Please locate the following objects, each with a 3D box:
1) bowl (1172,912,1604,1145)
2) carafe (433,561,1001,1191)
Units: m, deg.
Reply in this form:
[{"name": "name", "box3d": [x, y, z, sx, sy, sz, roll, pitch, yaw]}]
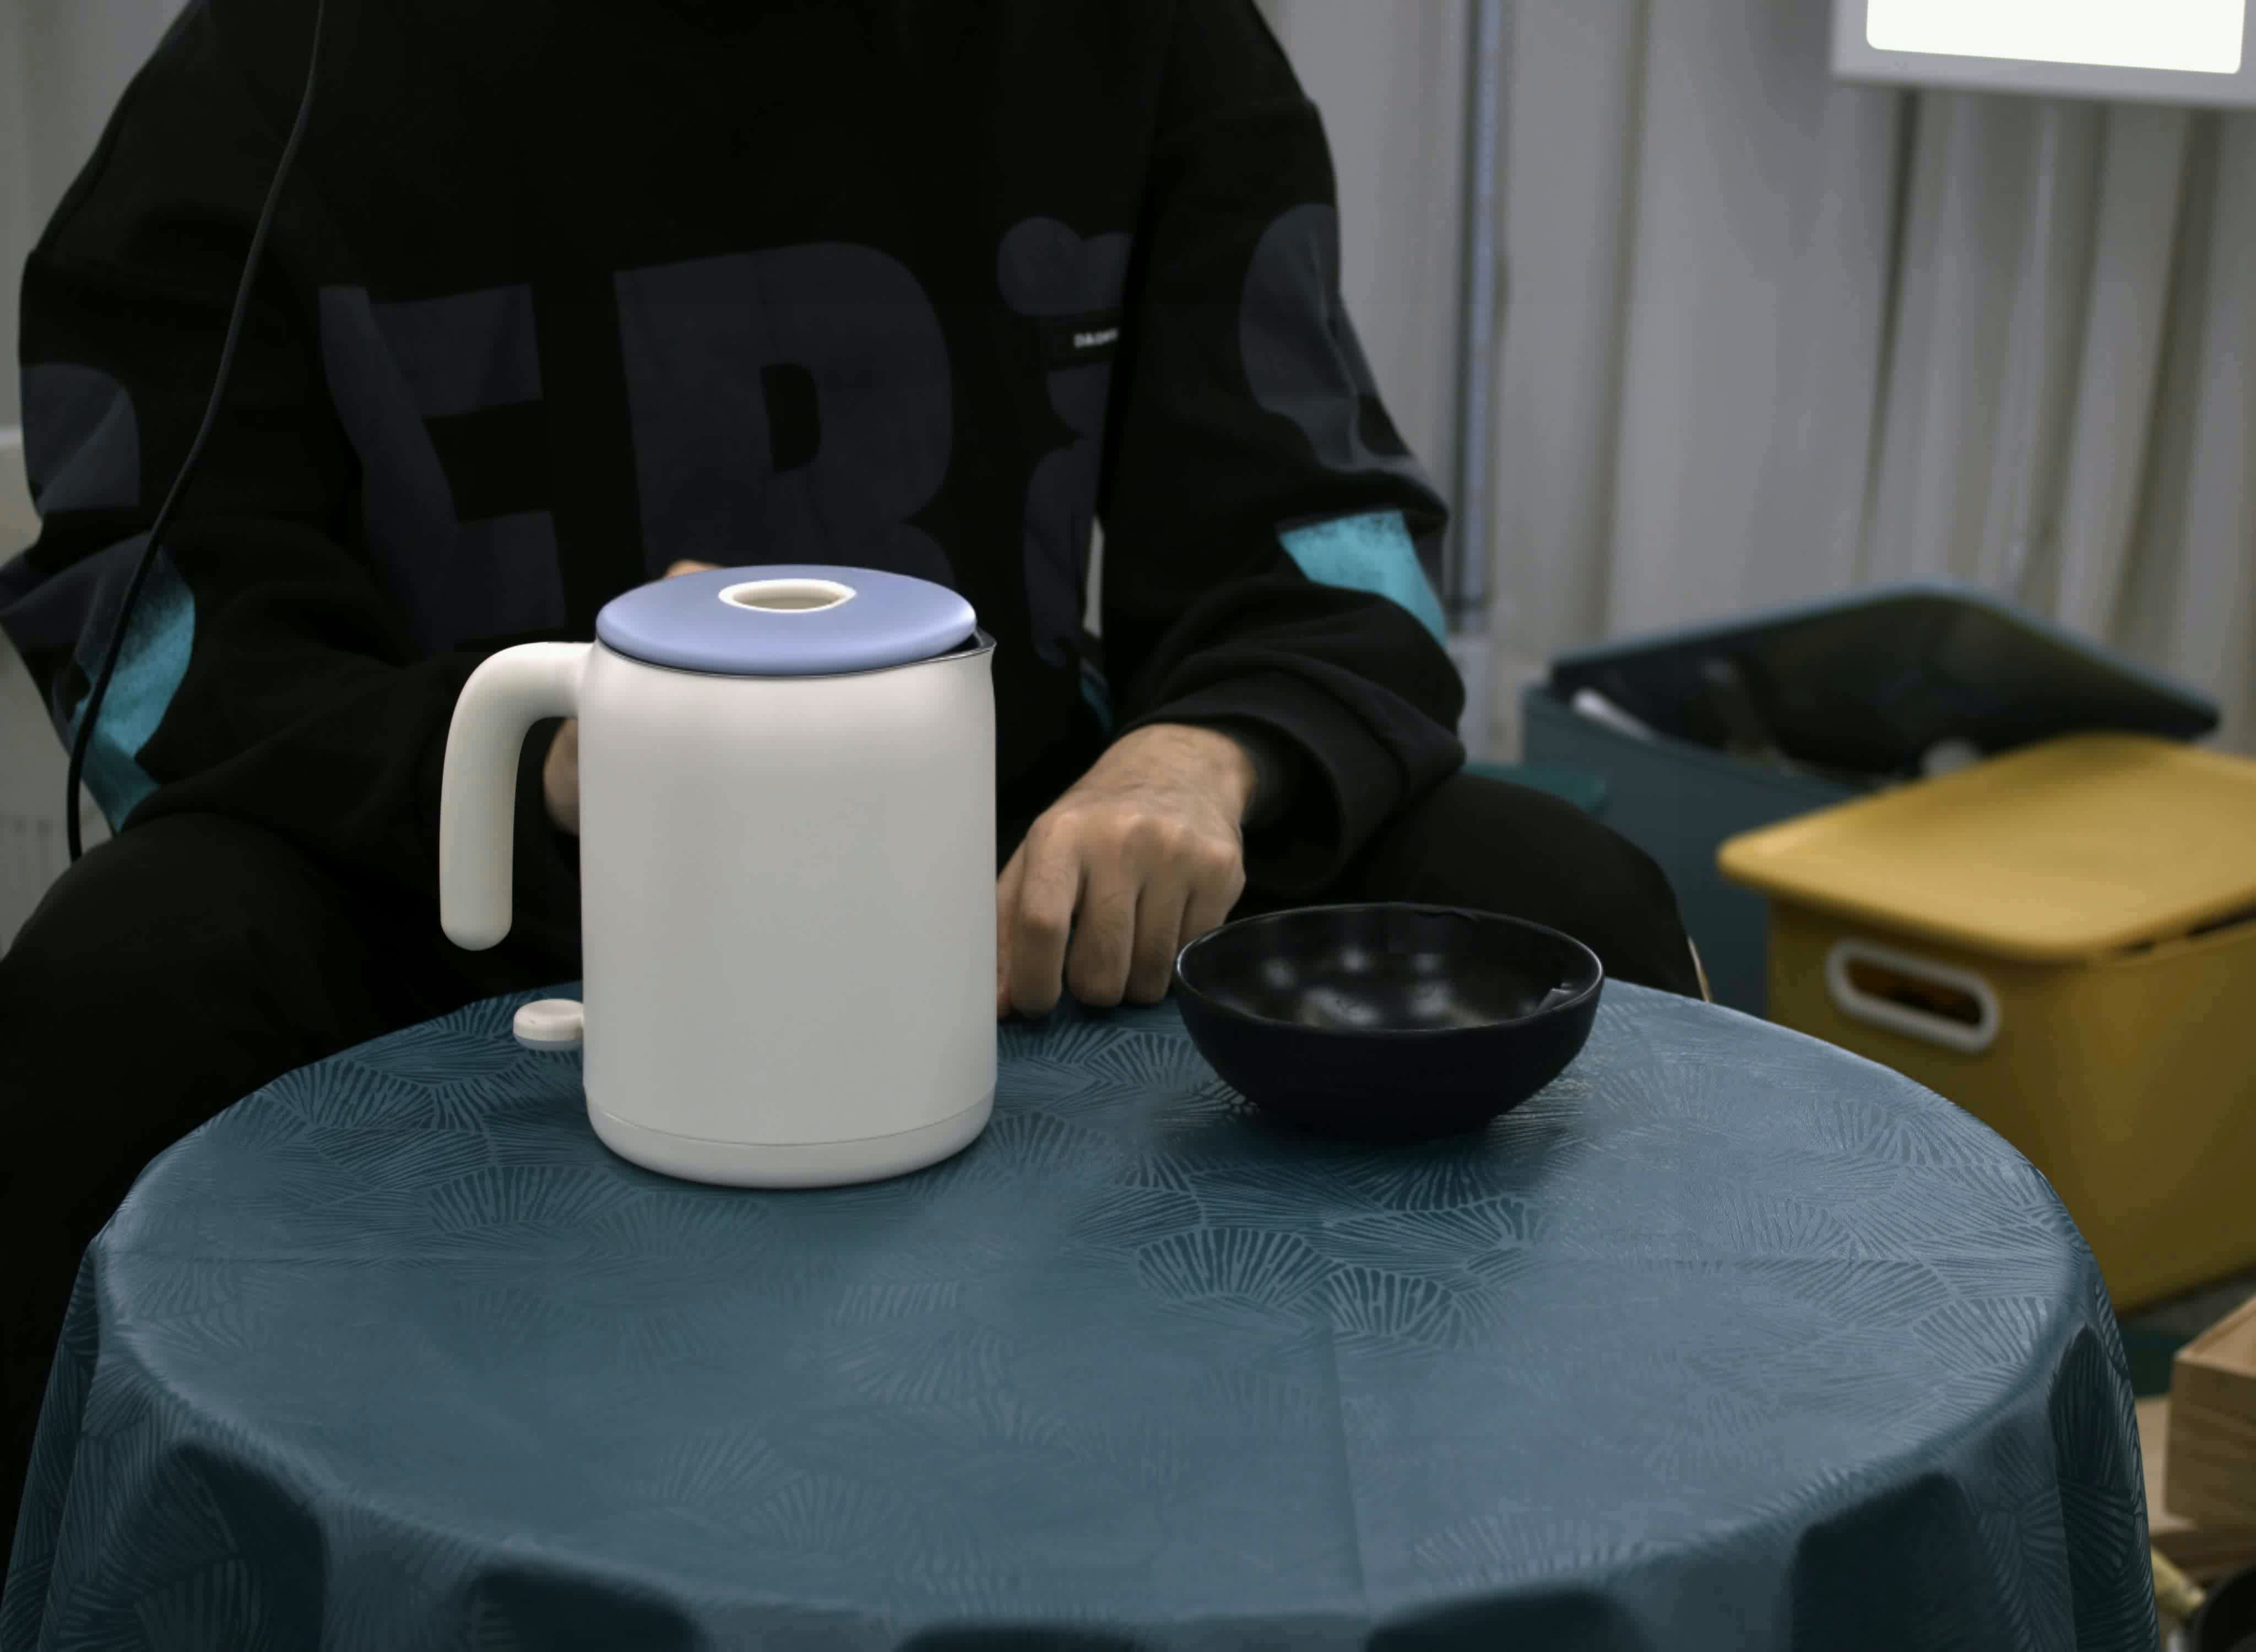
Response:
[{"name": "bowl", "box3d": [0.084, 0.069, 1.690, 0.139, 0.050, 0.139, -1, 14, 1]}, {"name": "carafe", "box3d": [-0.130, 0.013, 1.653, 0.189, 0.184, 0.132, 2, 15, 16]}]
